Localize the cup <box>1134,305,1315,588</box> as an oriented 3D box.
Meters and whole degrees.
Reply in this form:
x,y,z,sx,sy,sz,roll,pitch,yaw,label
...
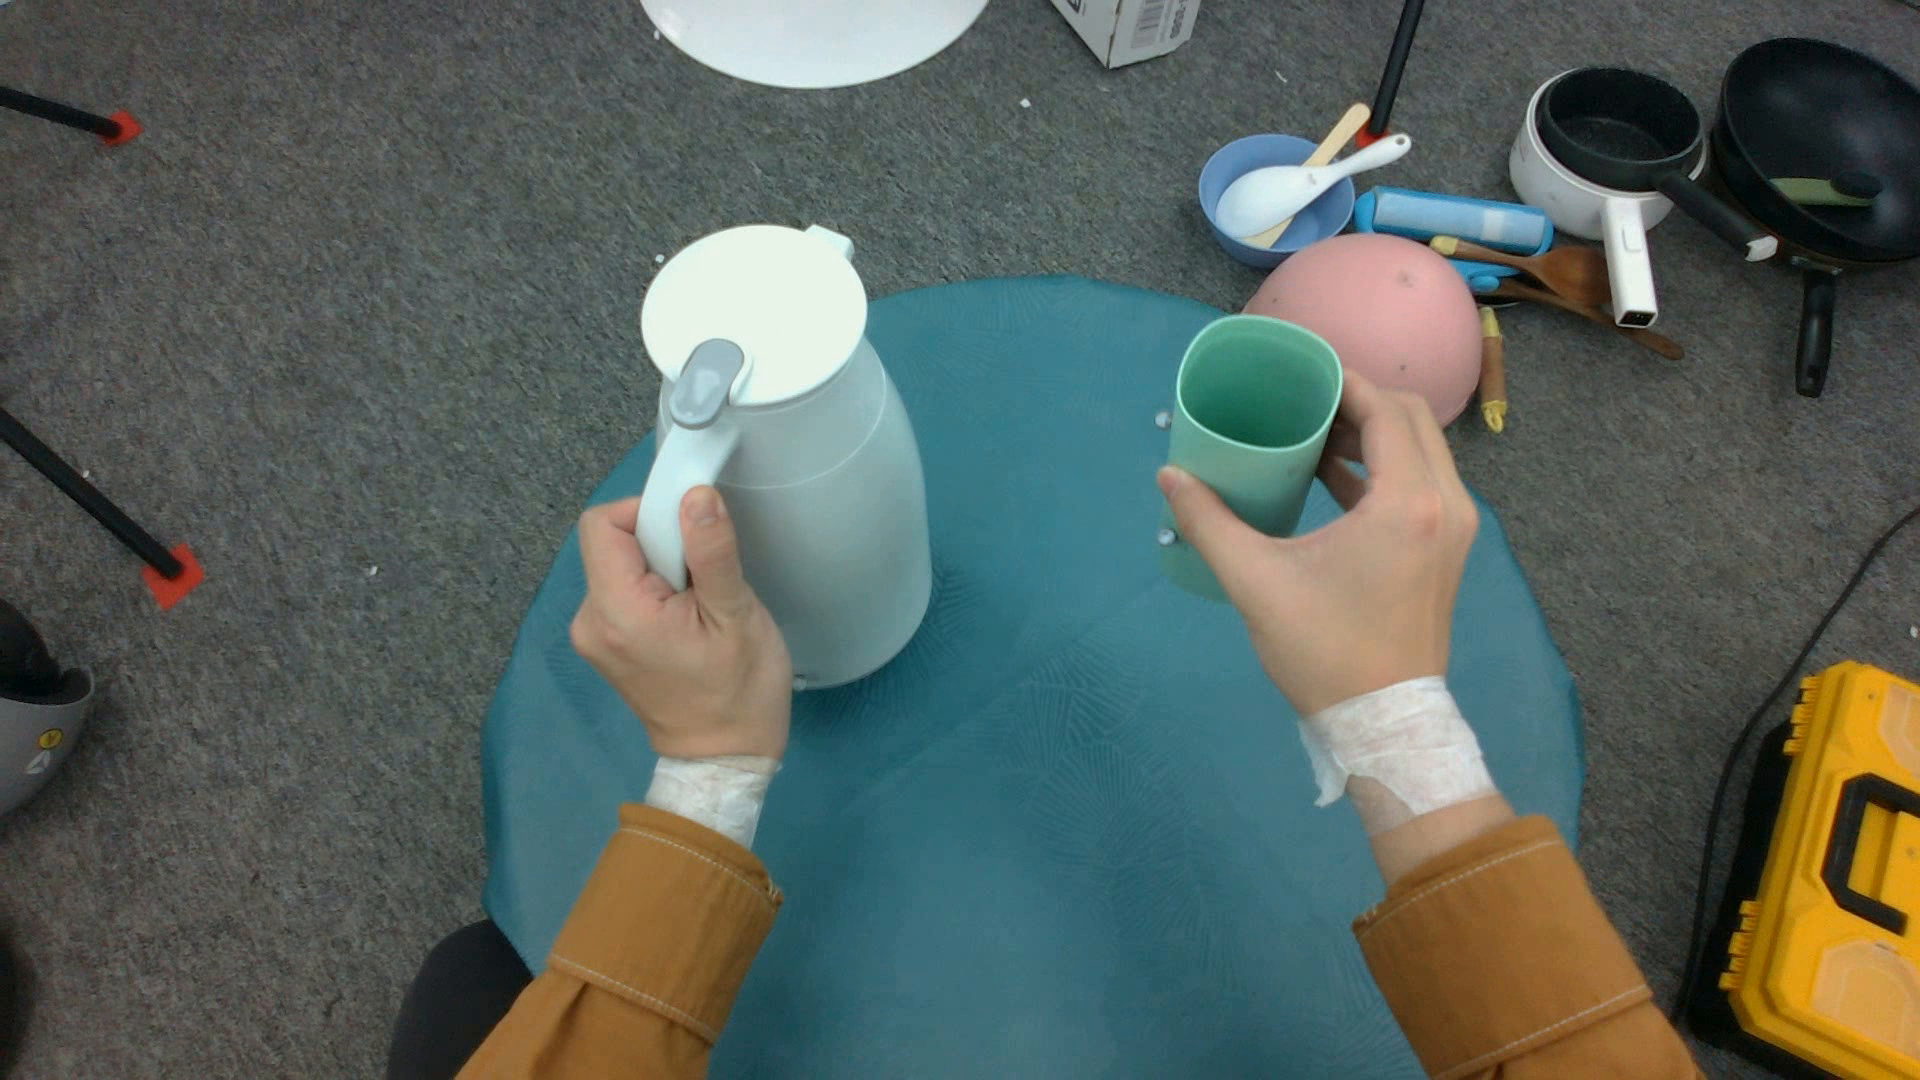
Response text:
x,y,z,sx,sy,sz,roll,pitch,yaw,label
0.113,-0.036,0.602,0.067,0.132,0.067,-1,61,2,cup

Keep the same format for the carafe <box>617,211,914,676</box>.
x,y,z,sx,sy,sz,roll,pitch,yaw,label
-0.099,-0.028,0.652,0.132,0.247,0.168,22,64,11,carafe
